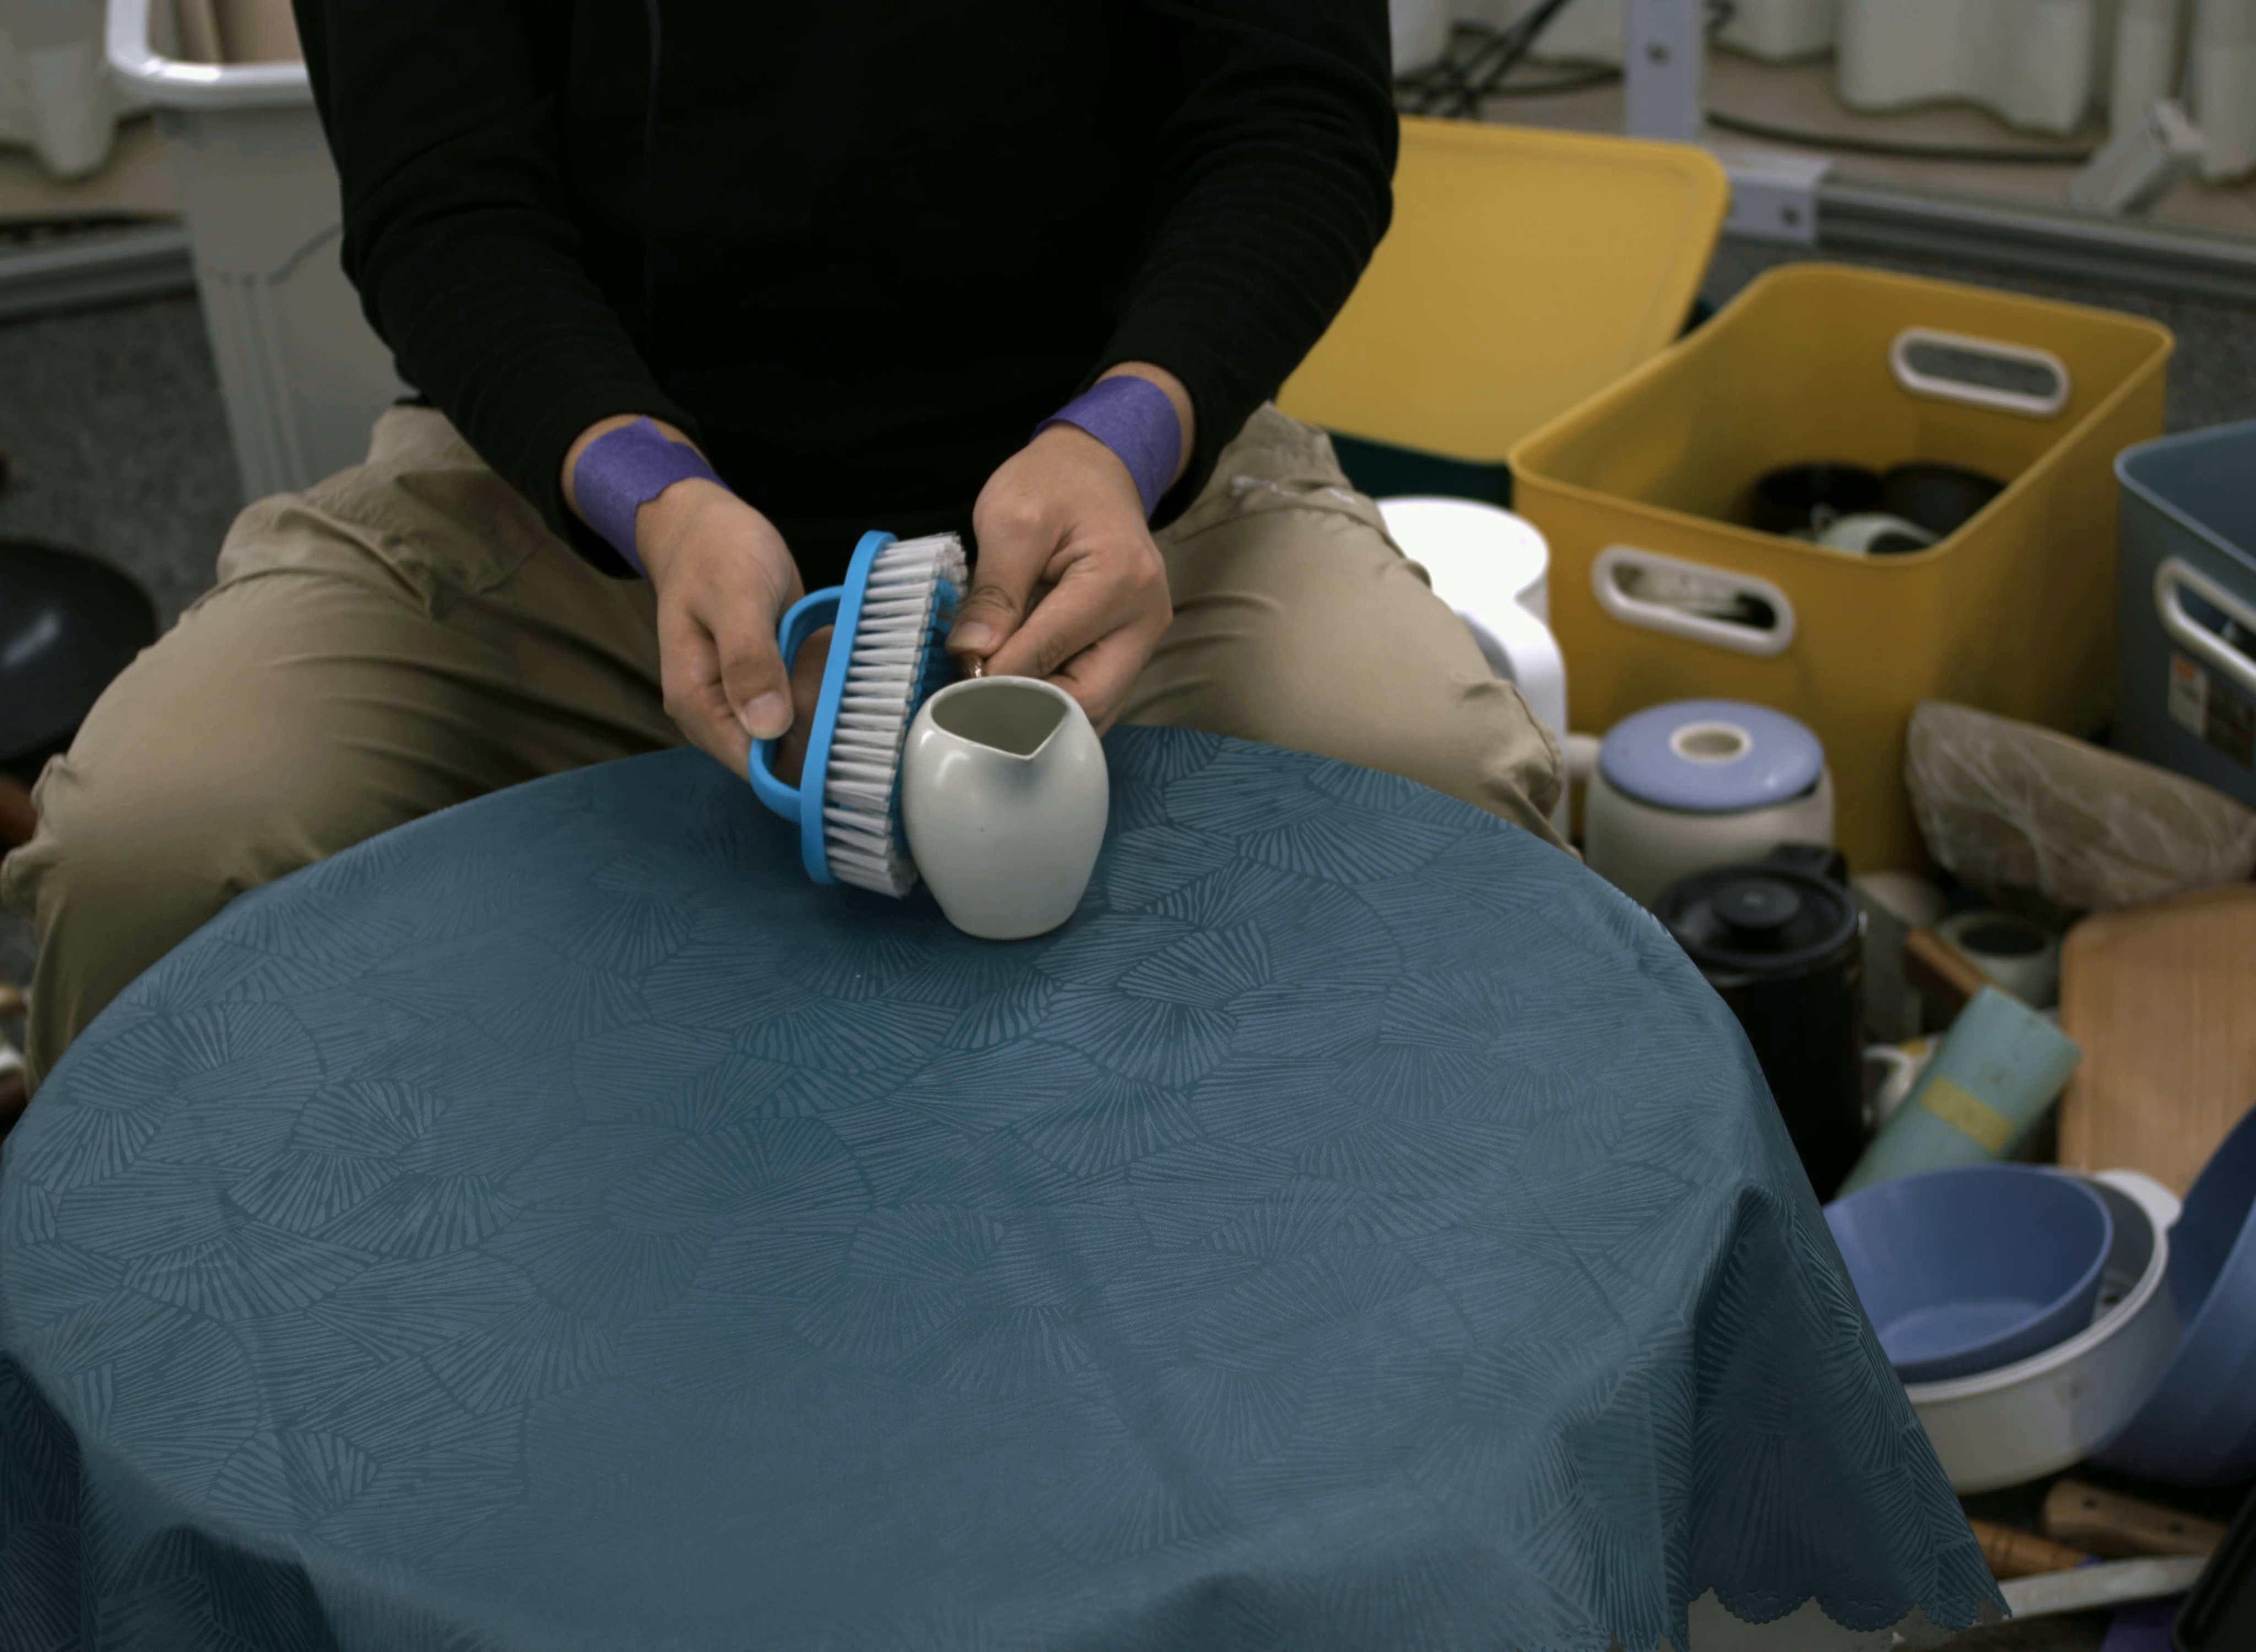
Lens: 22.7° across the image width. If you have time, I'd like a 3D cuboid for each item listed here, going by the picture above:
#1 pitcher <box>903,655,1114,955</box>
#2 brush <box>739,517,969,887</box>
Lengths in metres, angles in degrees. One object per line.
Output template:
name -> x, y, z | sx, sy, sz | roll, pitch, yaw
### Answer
pitcher -> -0.044, -0.006, 2.018 | 0.075, 0.087, 0.121 | -1, 30, -9
brush -> -0.105, -0.044, 2.047 | 0.063, 0.083, 0.144 | 5, 65, 15
